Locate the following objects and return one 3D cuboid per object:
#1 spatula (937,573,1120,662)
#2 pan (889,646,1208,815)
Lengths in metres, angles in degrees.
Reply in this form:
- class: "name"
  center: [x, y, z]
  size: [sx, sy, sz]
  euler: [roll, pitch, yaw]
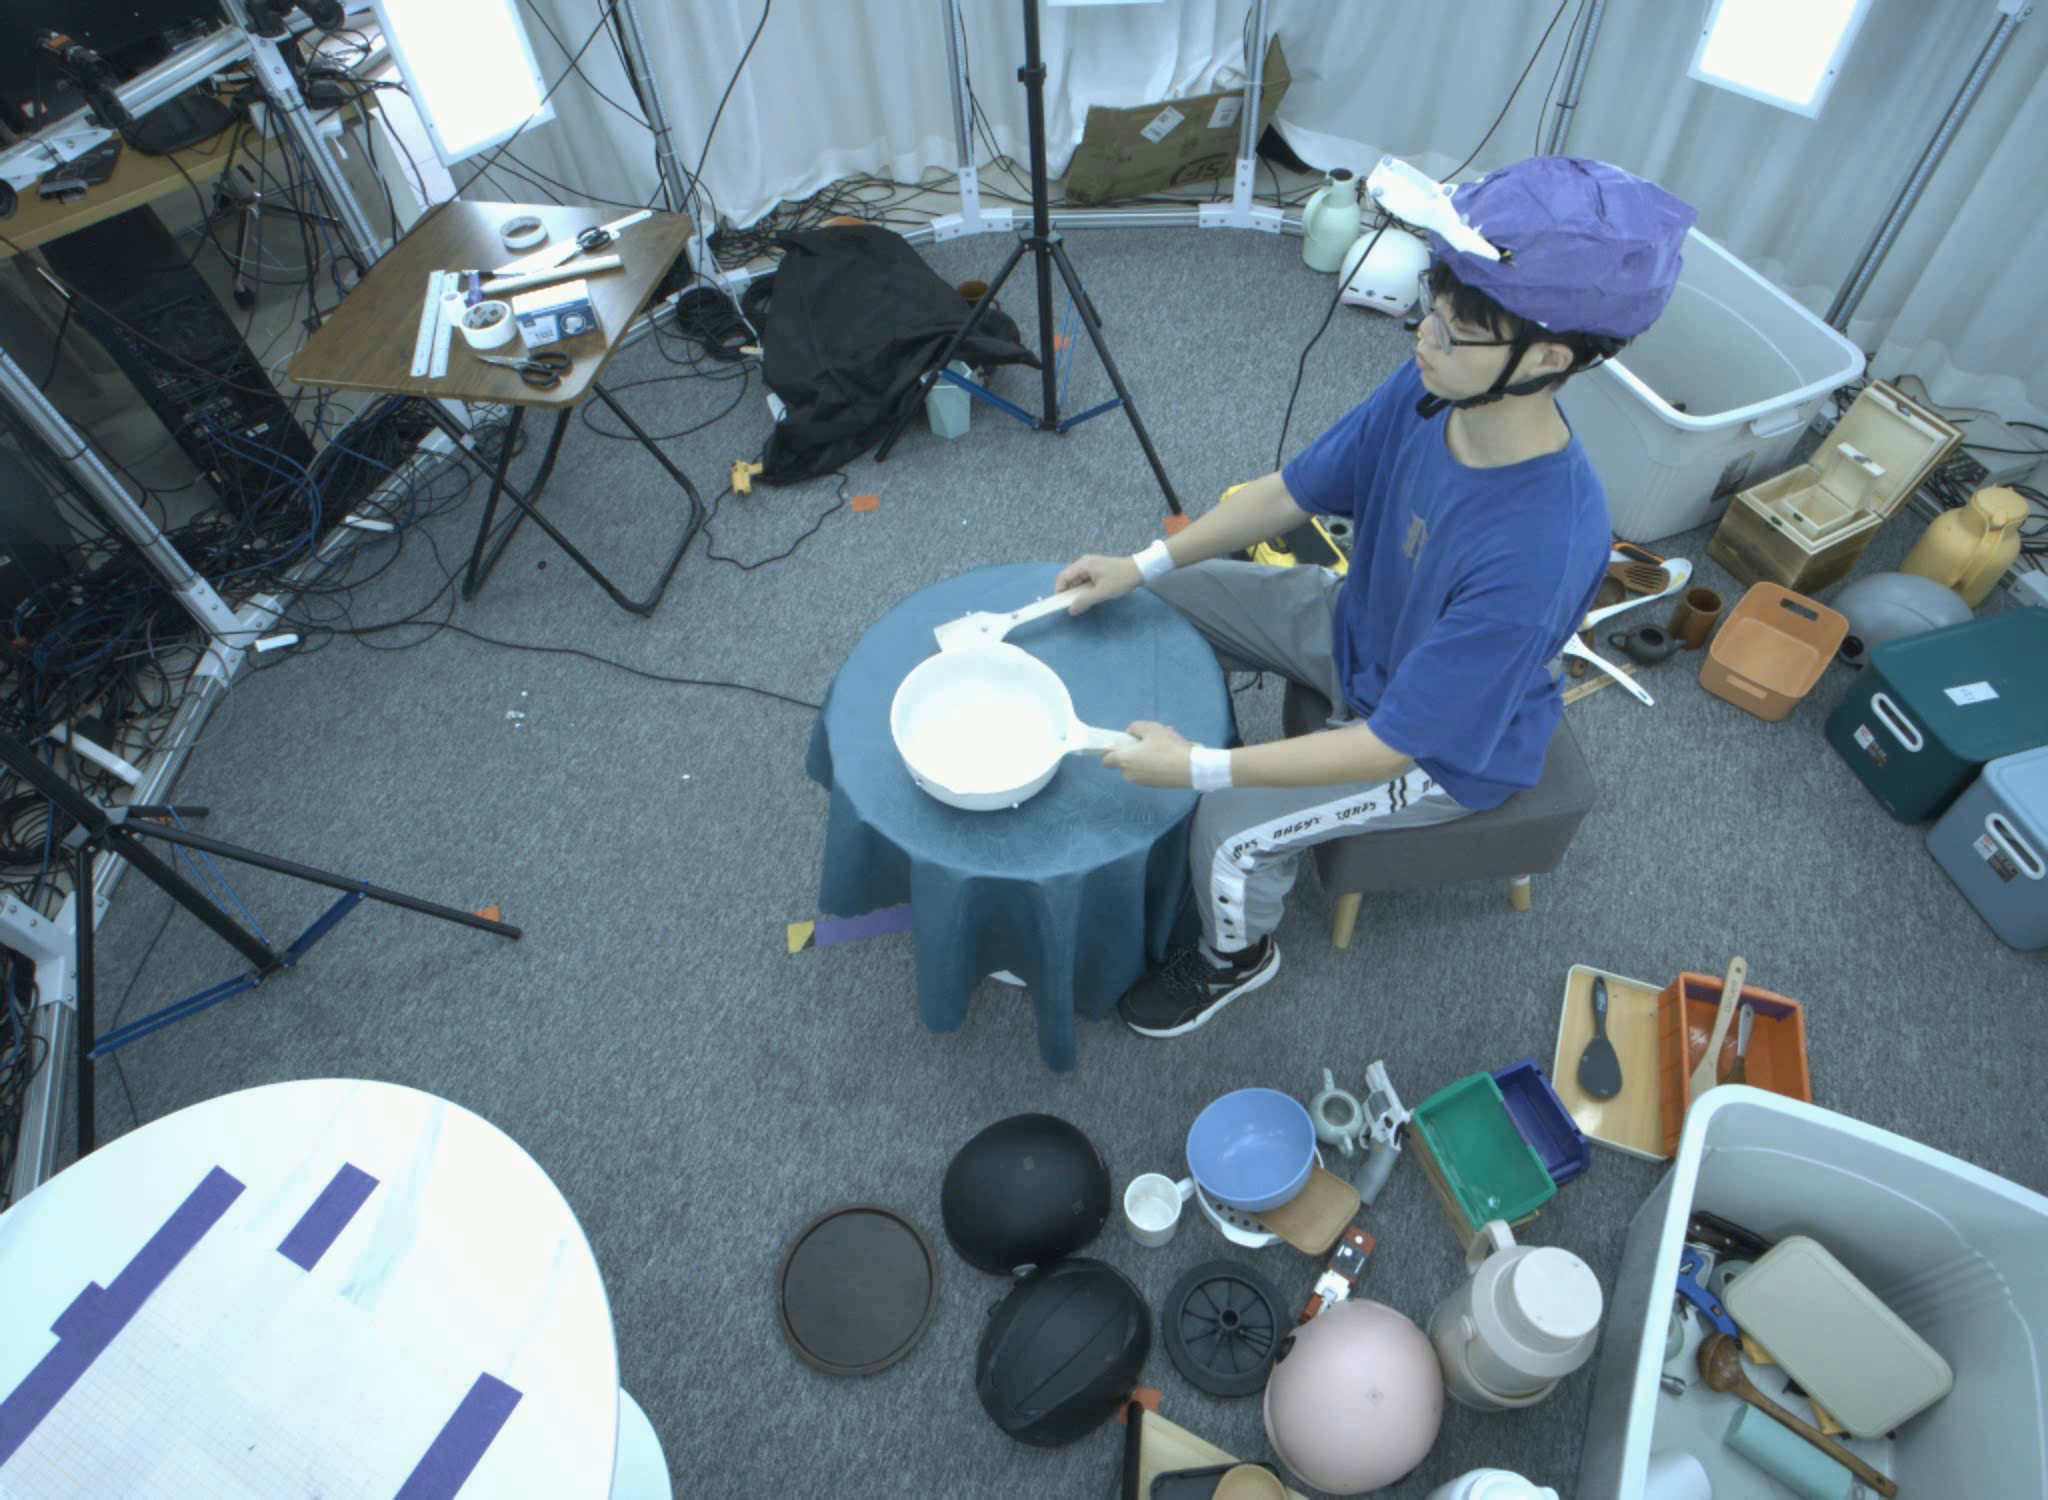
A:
- class: "spatula"
  center: [0.011, -0.212, 1.884]
  size: [0.294, 0.011, 0.071]
  euler: [-22, 65, -9]
- class: "pan"
  center: [0.031, -0.007, 1.697]
  size: [0.434, 0.103, 0.262]
  euler: [11, 55, 3]
